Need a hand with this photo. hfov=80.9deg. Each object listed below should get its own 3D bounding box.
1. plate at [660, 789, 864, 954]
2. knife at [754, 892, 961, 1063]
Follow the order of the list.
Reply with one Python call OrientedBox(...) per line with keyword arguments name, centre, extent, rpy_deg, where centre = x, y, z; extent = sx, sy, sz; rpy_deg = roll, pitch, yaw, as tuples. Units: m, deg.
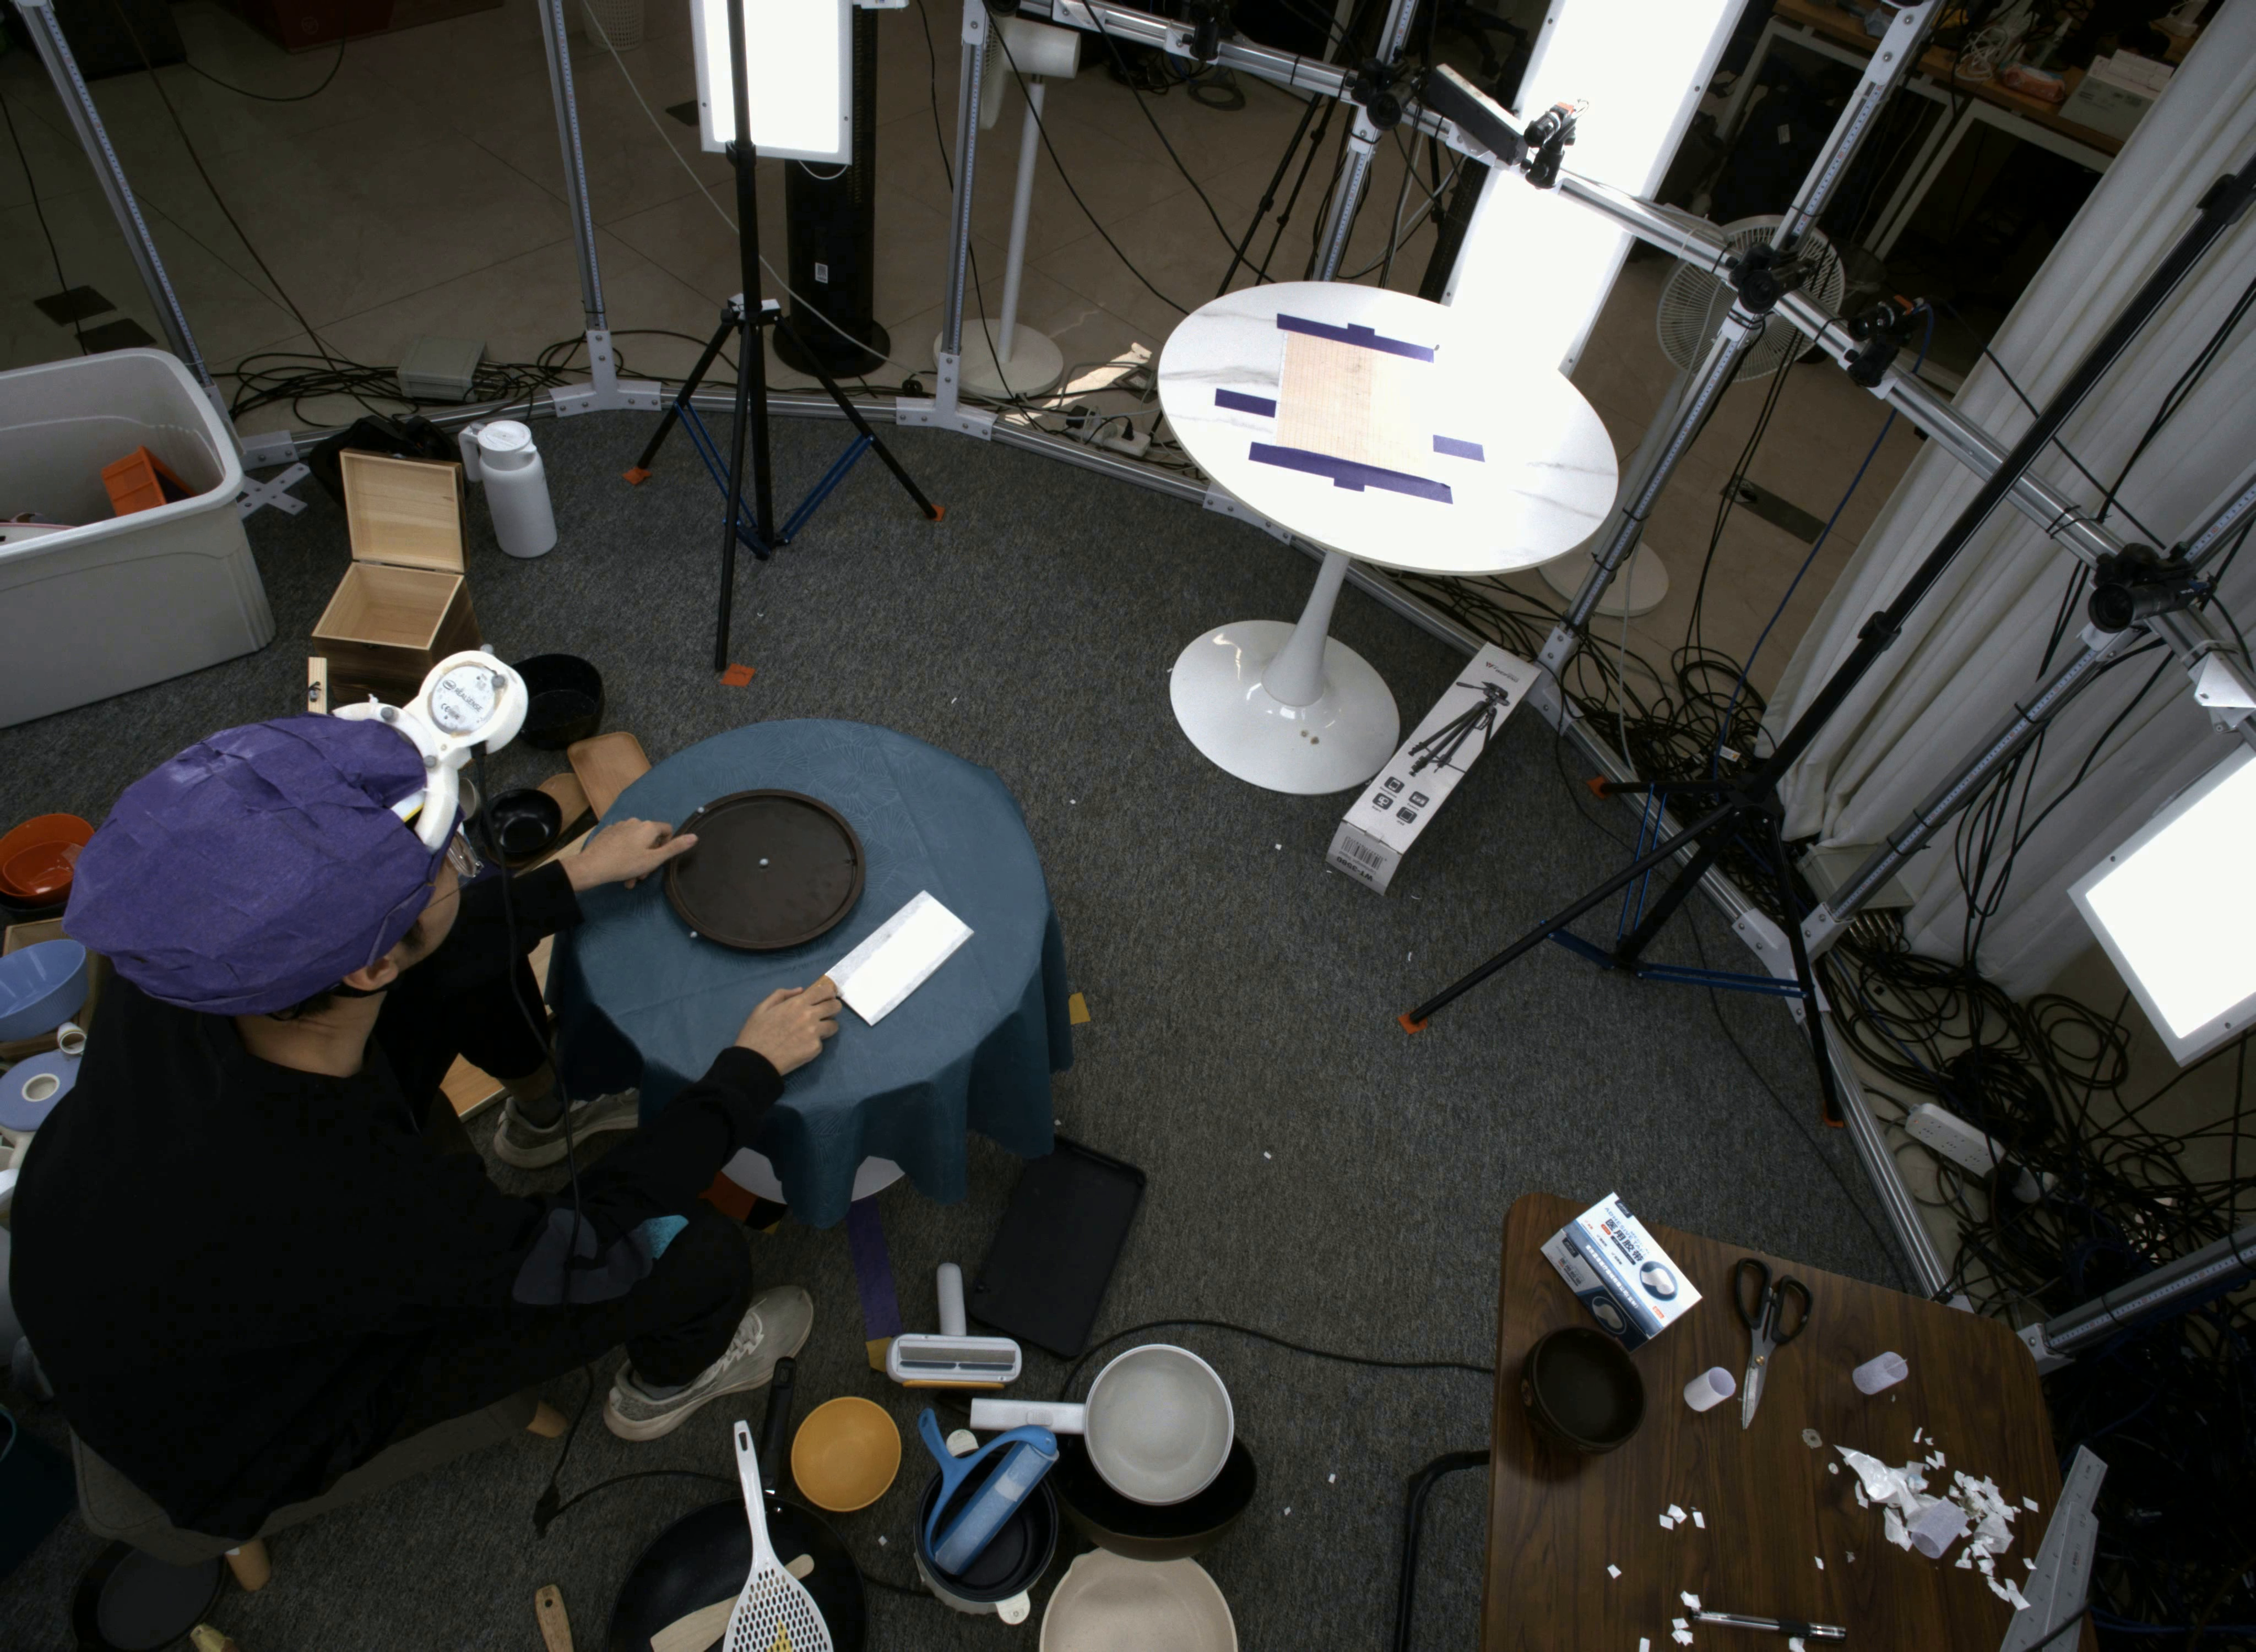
OrientedBox(name="plate", centre=(-0.464, 0.055, 1.646), extent=(0.254, 0.029, 0.250), rpy_deg=(8, 51, -8))
OrientedBox(name="knife", centre=(-0.320, 0.192, 1.589), extent=(0.092, 0.021, 0.305), rpy_deg=(40, 53, 8))
